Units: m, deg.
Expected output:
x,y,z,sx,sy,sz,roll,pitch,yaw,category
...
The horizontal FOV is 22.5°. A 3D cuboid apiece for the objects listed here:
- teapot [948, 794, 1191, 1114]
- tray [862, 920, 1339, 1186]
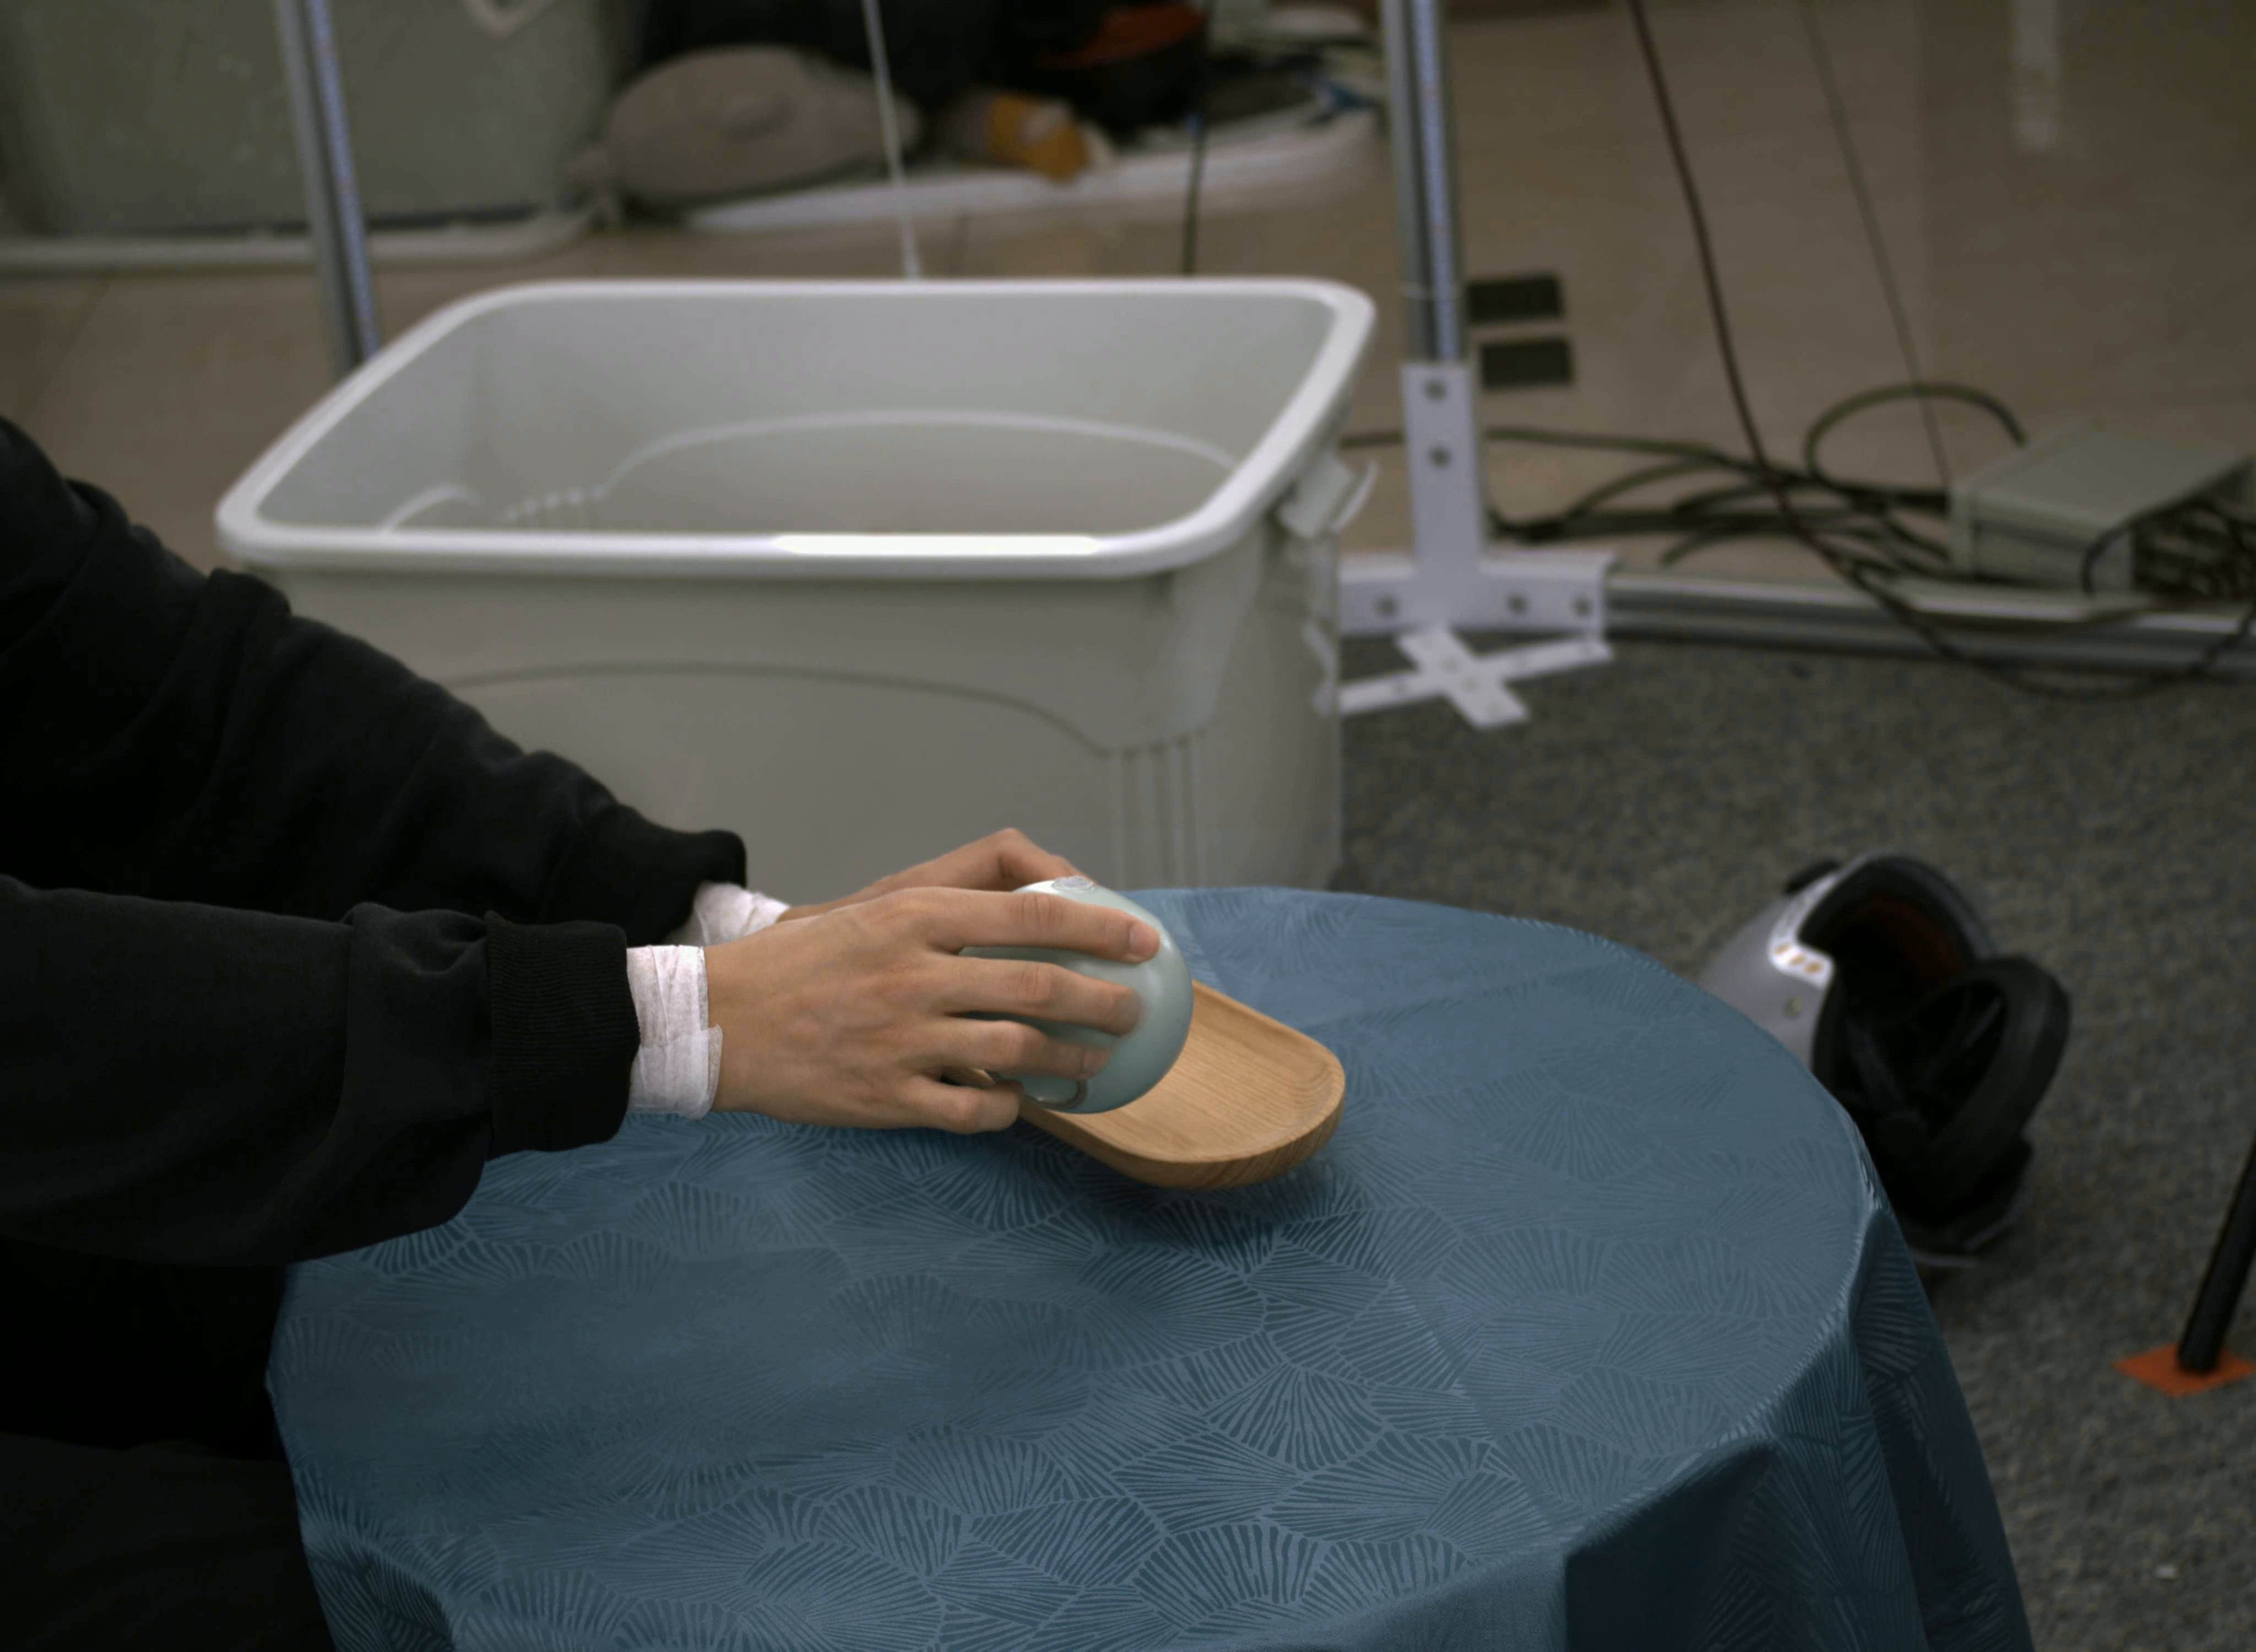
x,y,z,sx,sy,sz,roll,pitch,yaw,category
-0.021,0.061,2.035,0.088,0.146,0.073,11,50,26,teapot
-0.012,0.086,2.192,0.101,0.020,0.229,-26,32,-33,tray
